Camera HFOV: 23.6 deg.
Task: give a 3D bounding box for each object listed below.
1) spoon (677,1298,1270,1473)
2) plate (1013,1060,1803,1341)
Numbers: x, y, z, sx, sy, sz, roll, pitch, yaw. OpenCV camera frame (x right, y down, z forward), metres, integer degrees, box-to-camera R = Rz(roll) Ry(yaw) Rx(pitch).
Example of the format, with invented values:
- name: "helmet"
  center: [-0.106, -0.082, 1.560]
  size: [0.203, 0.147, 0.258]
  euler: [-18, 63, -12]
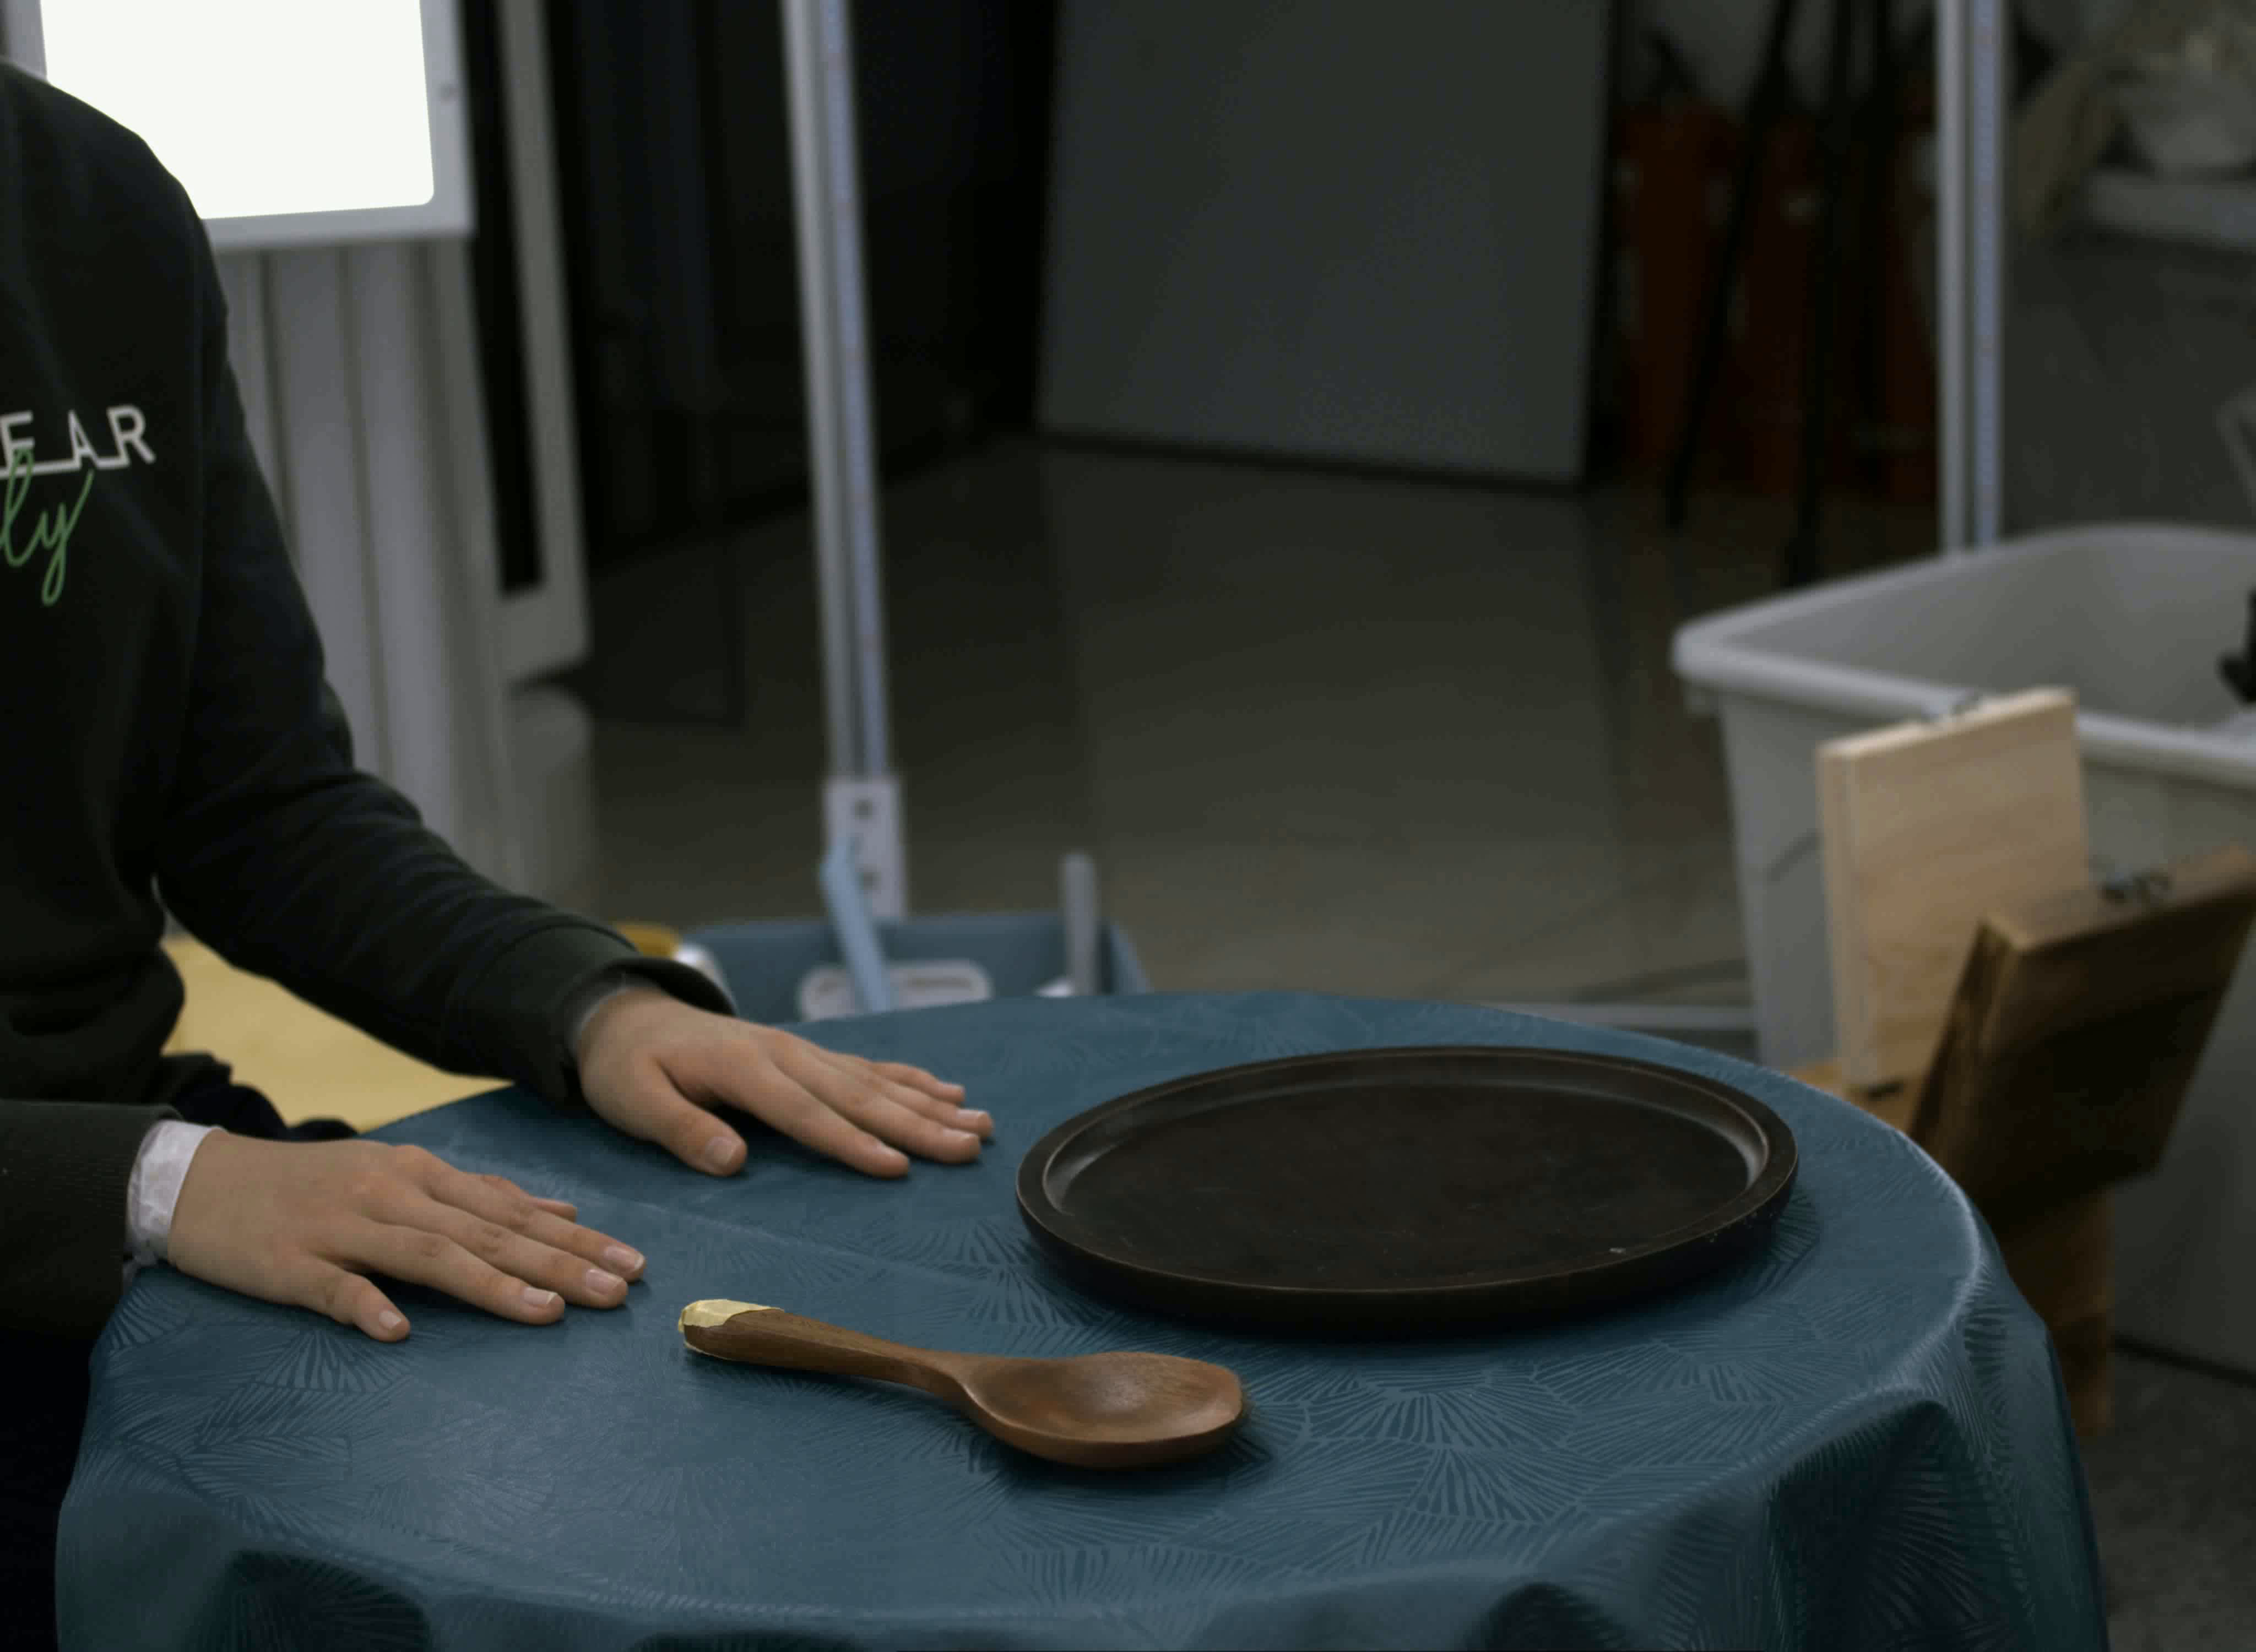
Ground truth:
- name: "spoon"
  center: [-0.050, 0.163, 1.581]
  size: [0.217, 0.017, 0.074]
  euler: [8, 18, 39]
- name: "plate"
  center: [0.090, 0.116, 1.718]
  size: [0.251, 0.029, 0.255]
  euler: [-3, 14, 0]
